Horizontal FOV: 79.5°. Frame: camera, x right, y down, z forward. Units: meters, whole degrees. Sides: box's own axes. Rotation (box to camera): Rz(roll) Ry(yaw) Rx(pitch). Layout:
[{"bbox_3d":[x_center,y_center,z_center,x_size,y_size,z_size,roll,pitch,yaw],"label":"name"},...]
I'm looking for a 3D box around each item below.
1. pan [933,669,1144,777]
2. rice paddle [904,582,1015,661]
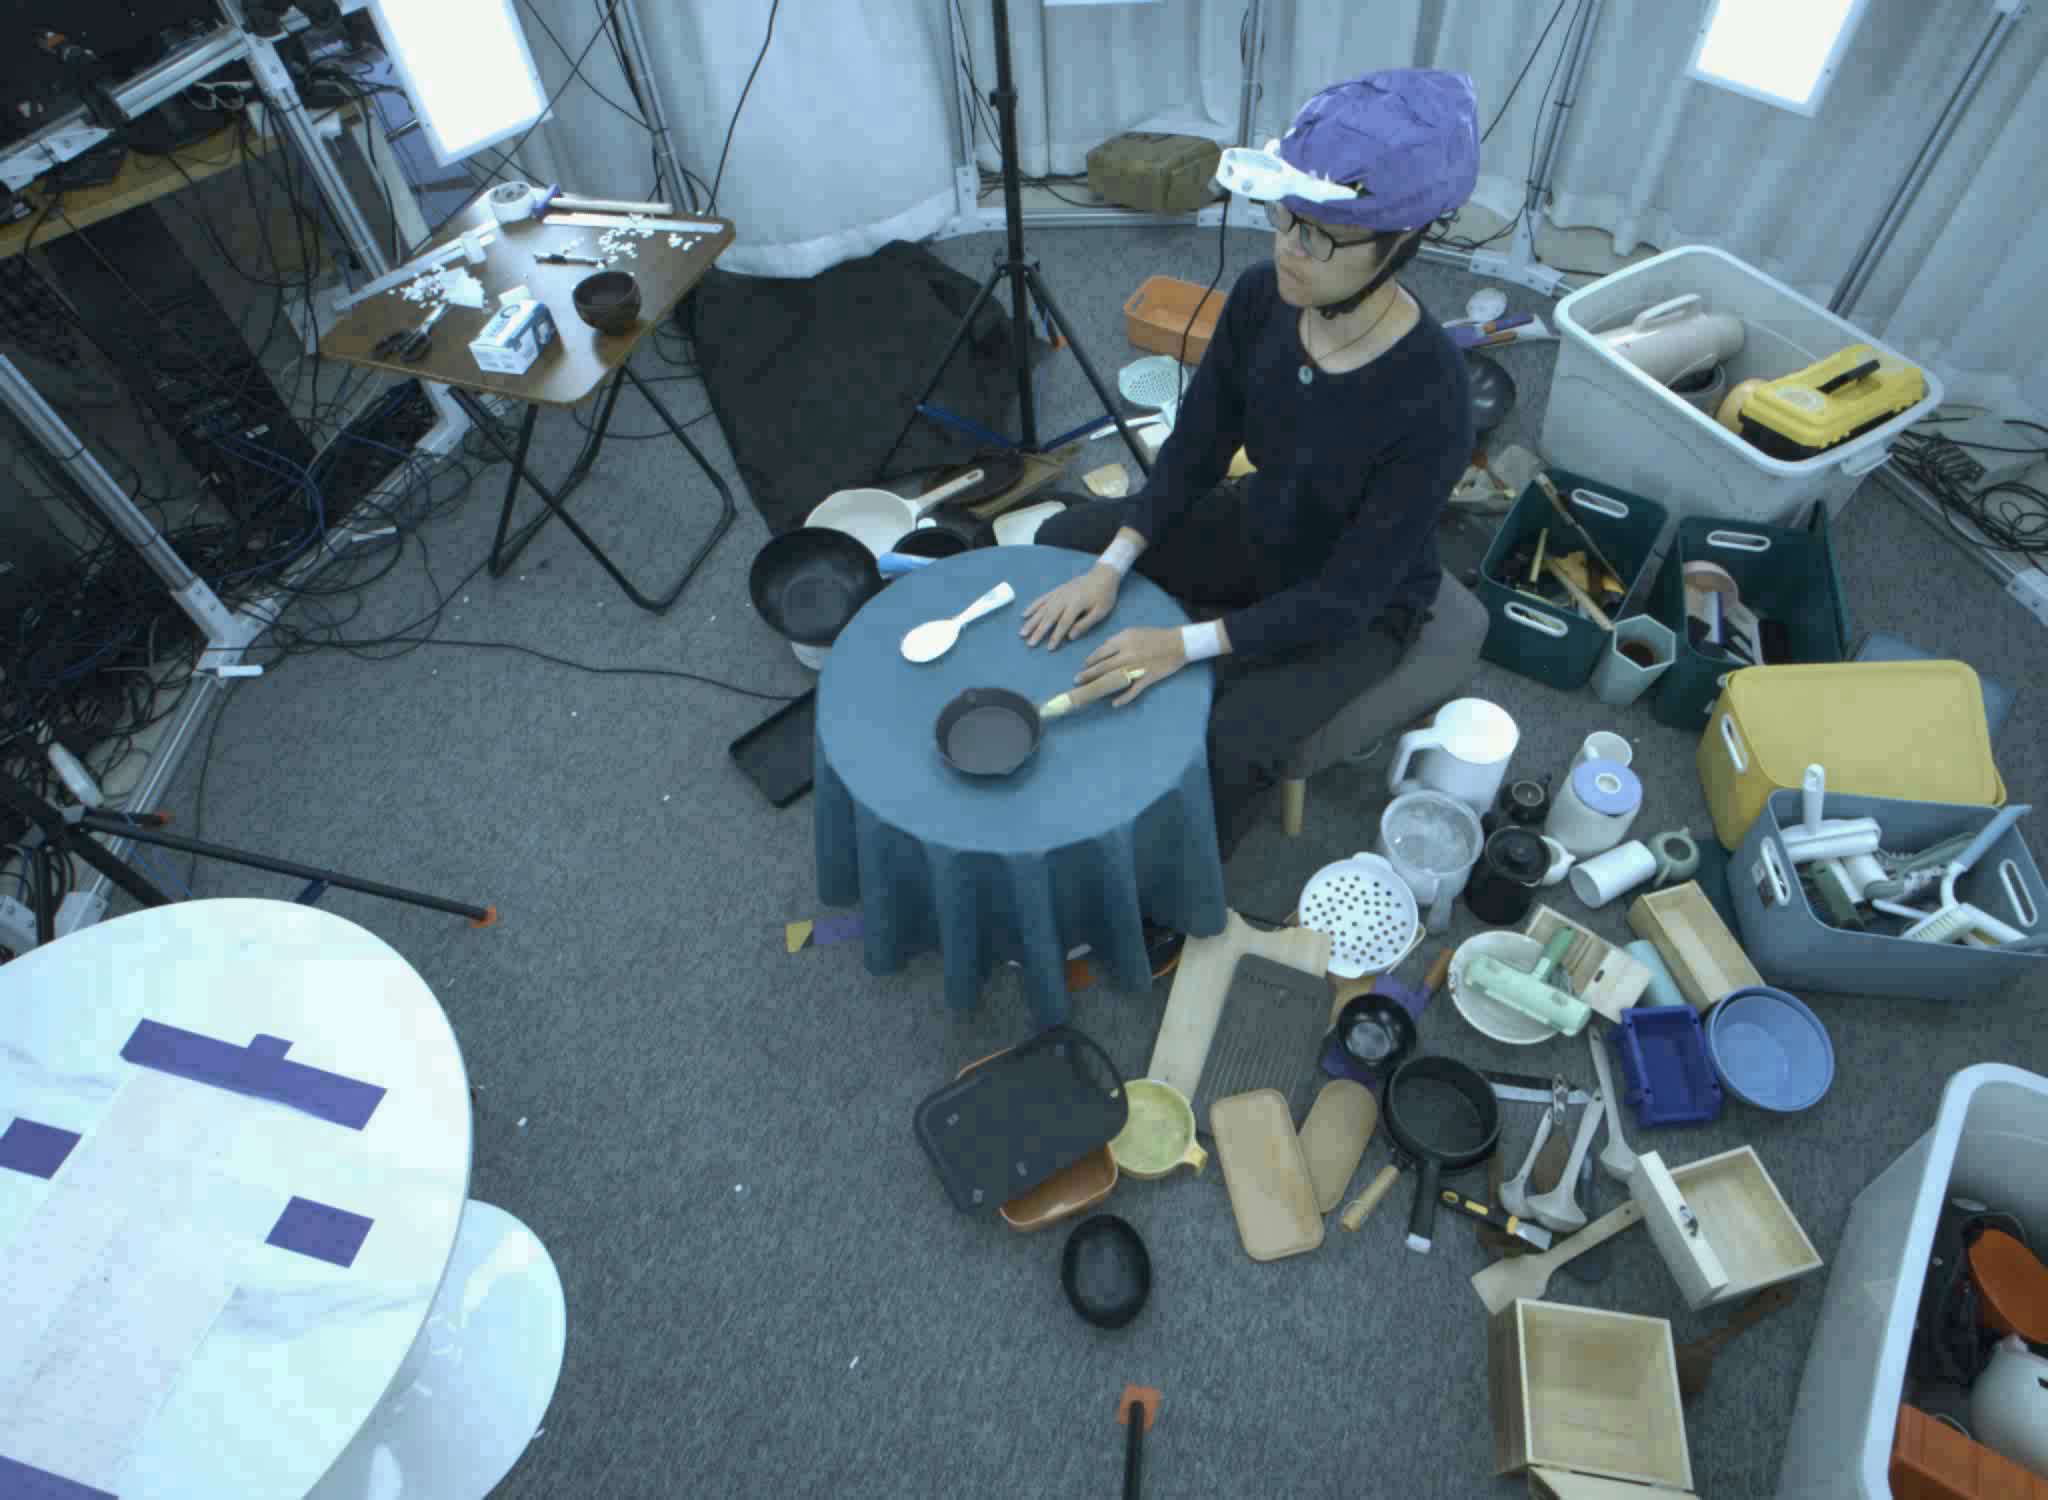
[{"bbox_3d":[0.027,-0.053,1.793,0.326,0.050,0.166,-19,56,-9],"label":"pan"},{"bbox_3d":[-0.102,-0.200,1.915,0.207,0.030,0.067,-35,58,-21],"label":"rice paddle"}]
